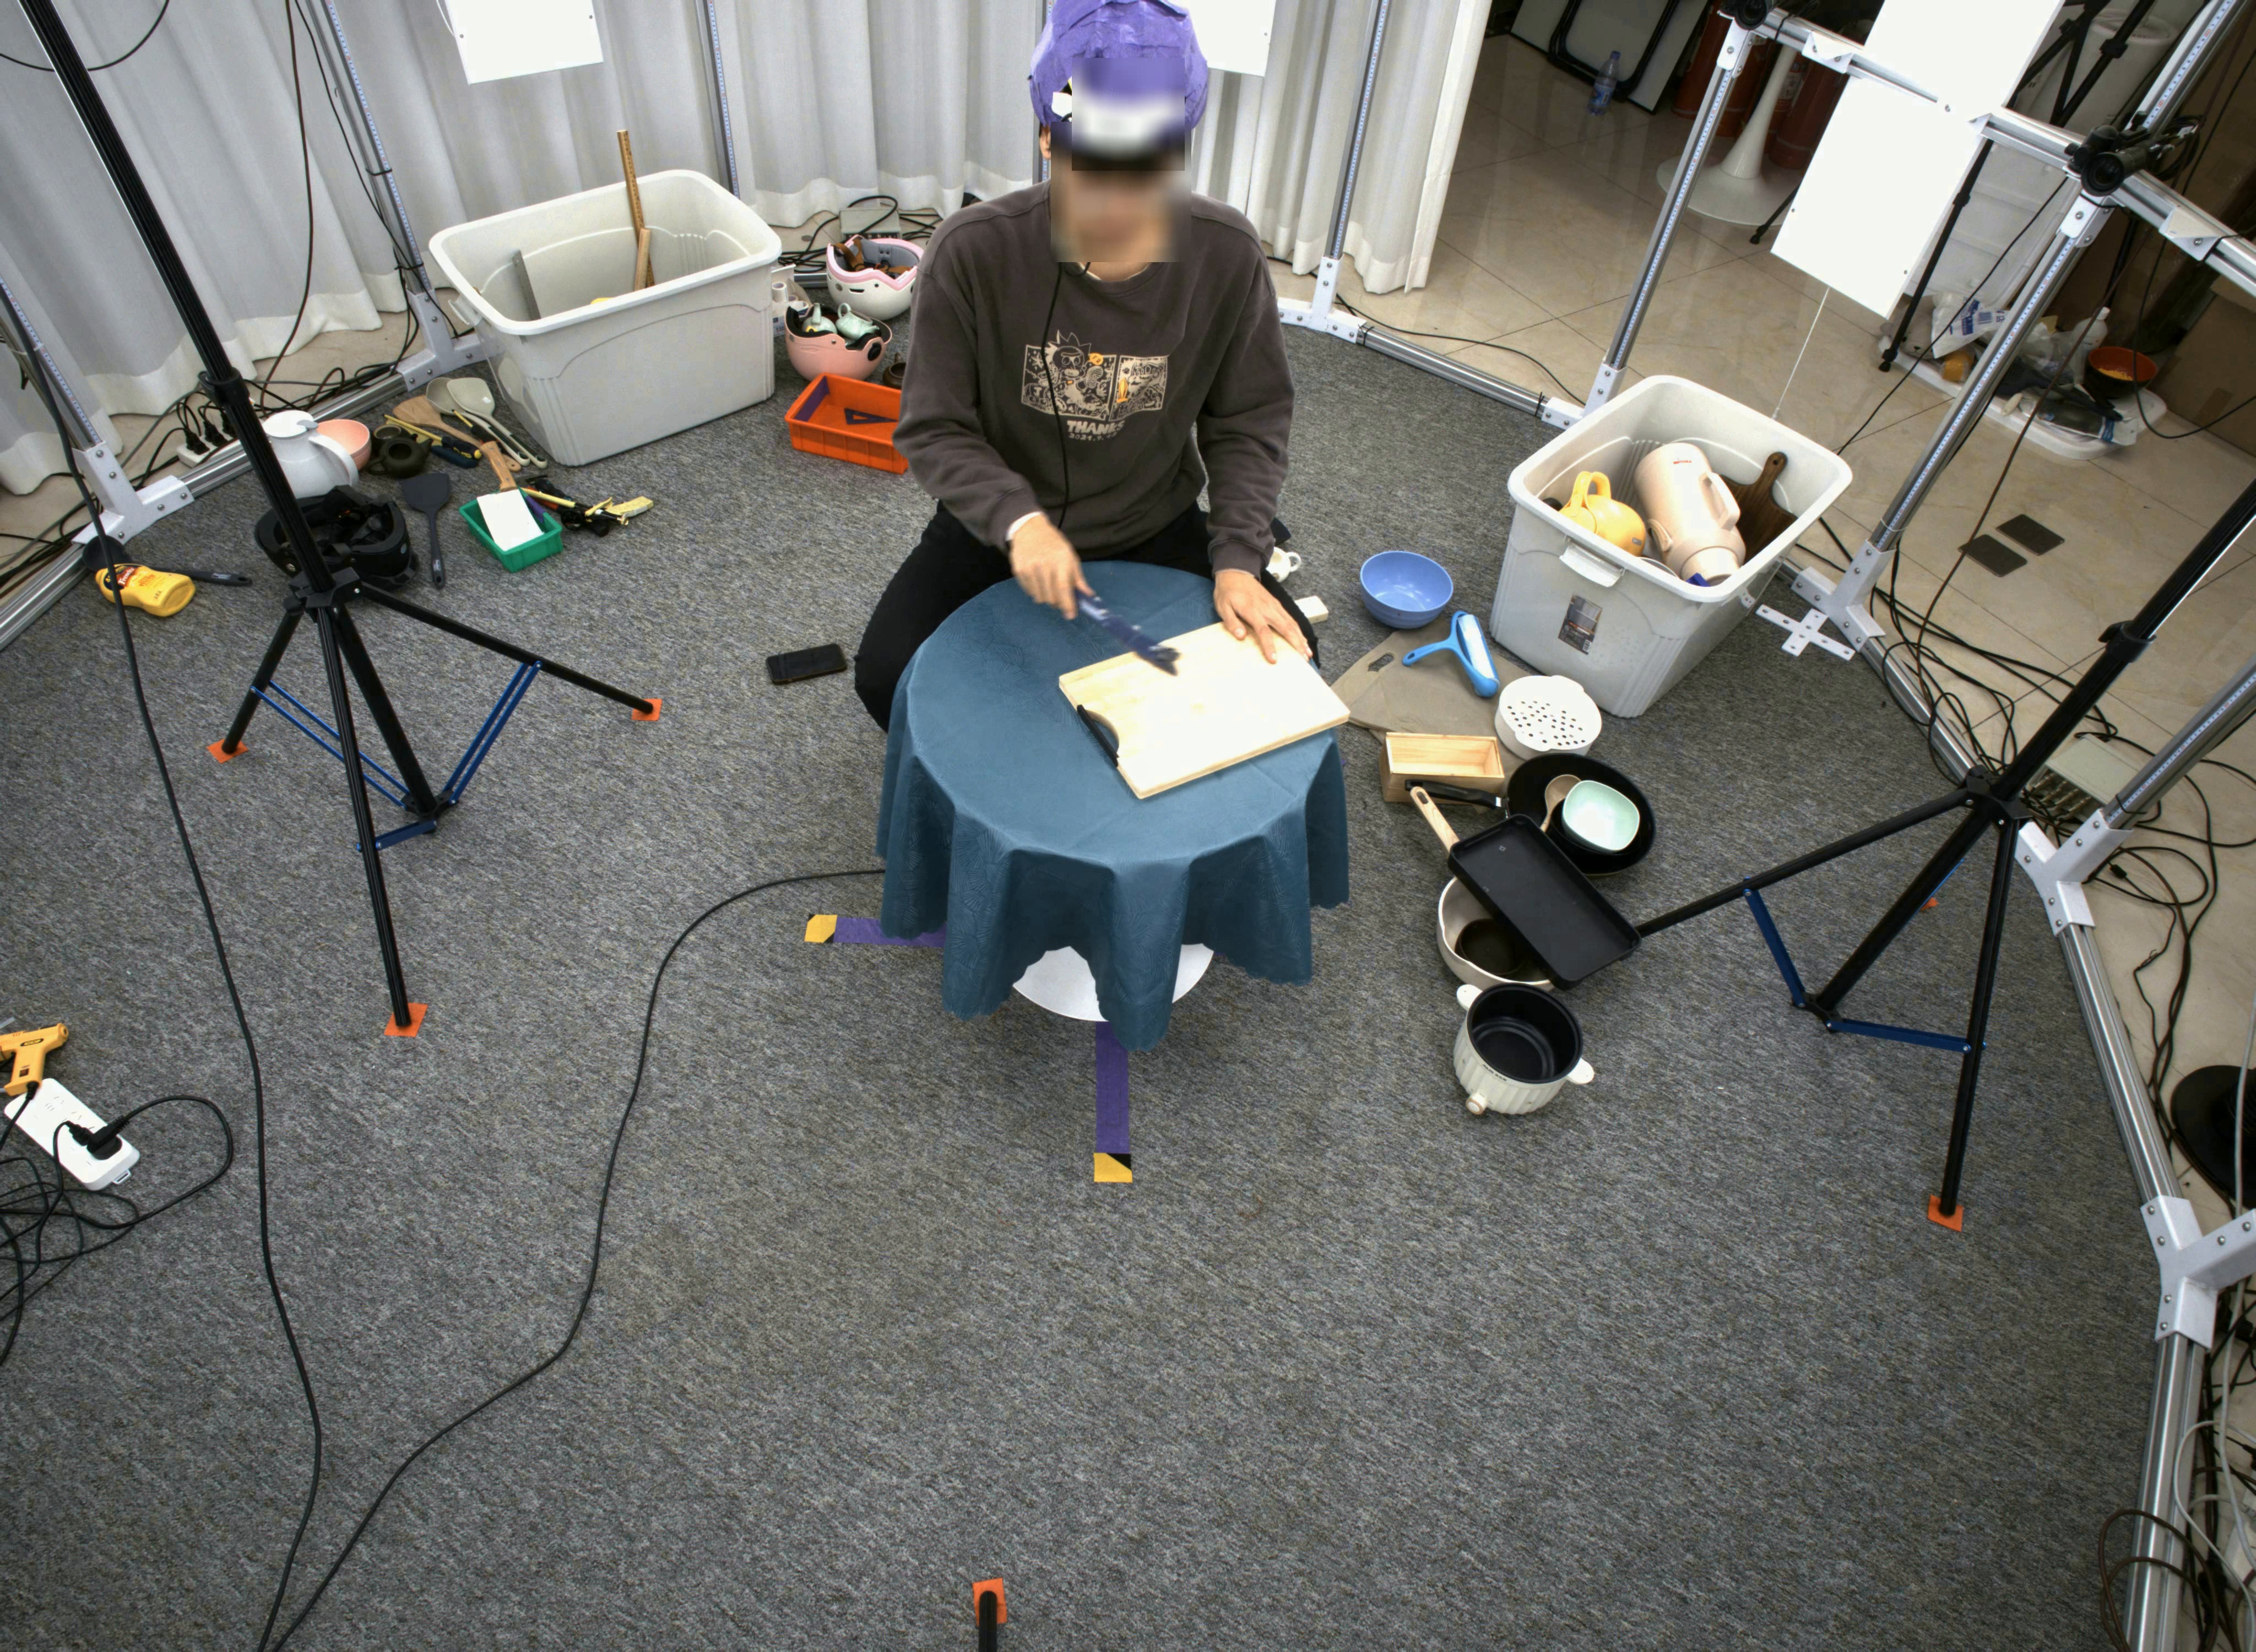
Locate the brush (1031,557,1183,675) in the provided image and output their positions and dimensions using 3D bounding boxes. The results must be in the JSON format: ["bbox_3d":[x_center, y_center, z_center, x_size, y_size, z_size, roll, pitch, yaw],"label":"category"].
[{"bbox_3d":[-0.029,-0.292,1.742,0.276,0.094,0.033,39,82,17],"label":"brush"}]

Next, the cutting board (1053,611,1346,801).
[{"bbox_3d":[0.102,-0.178,1.816,0.349,0.023,0.256,-21,53,-21],"label":"cutting board"}]
